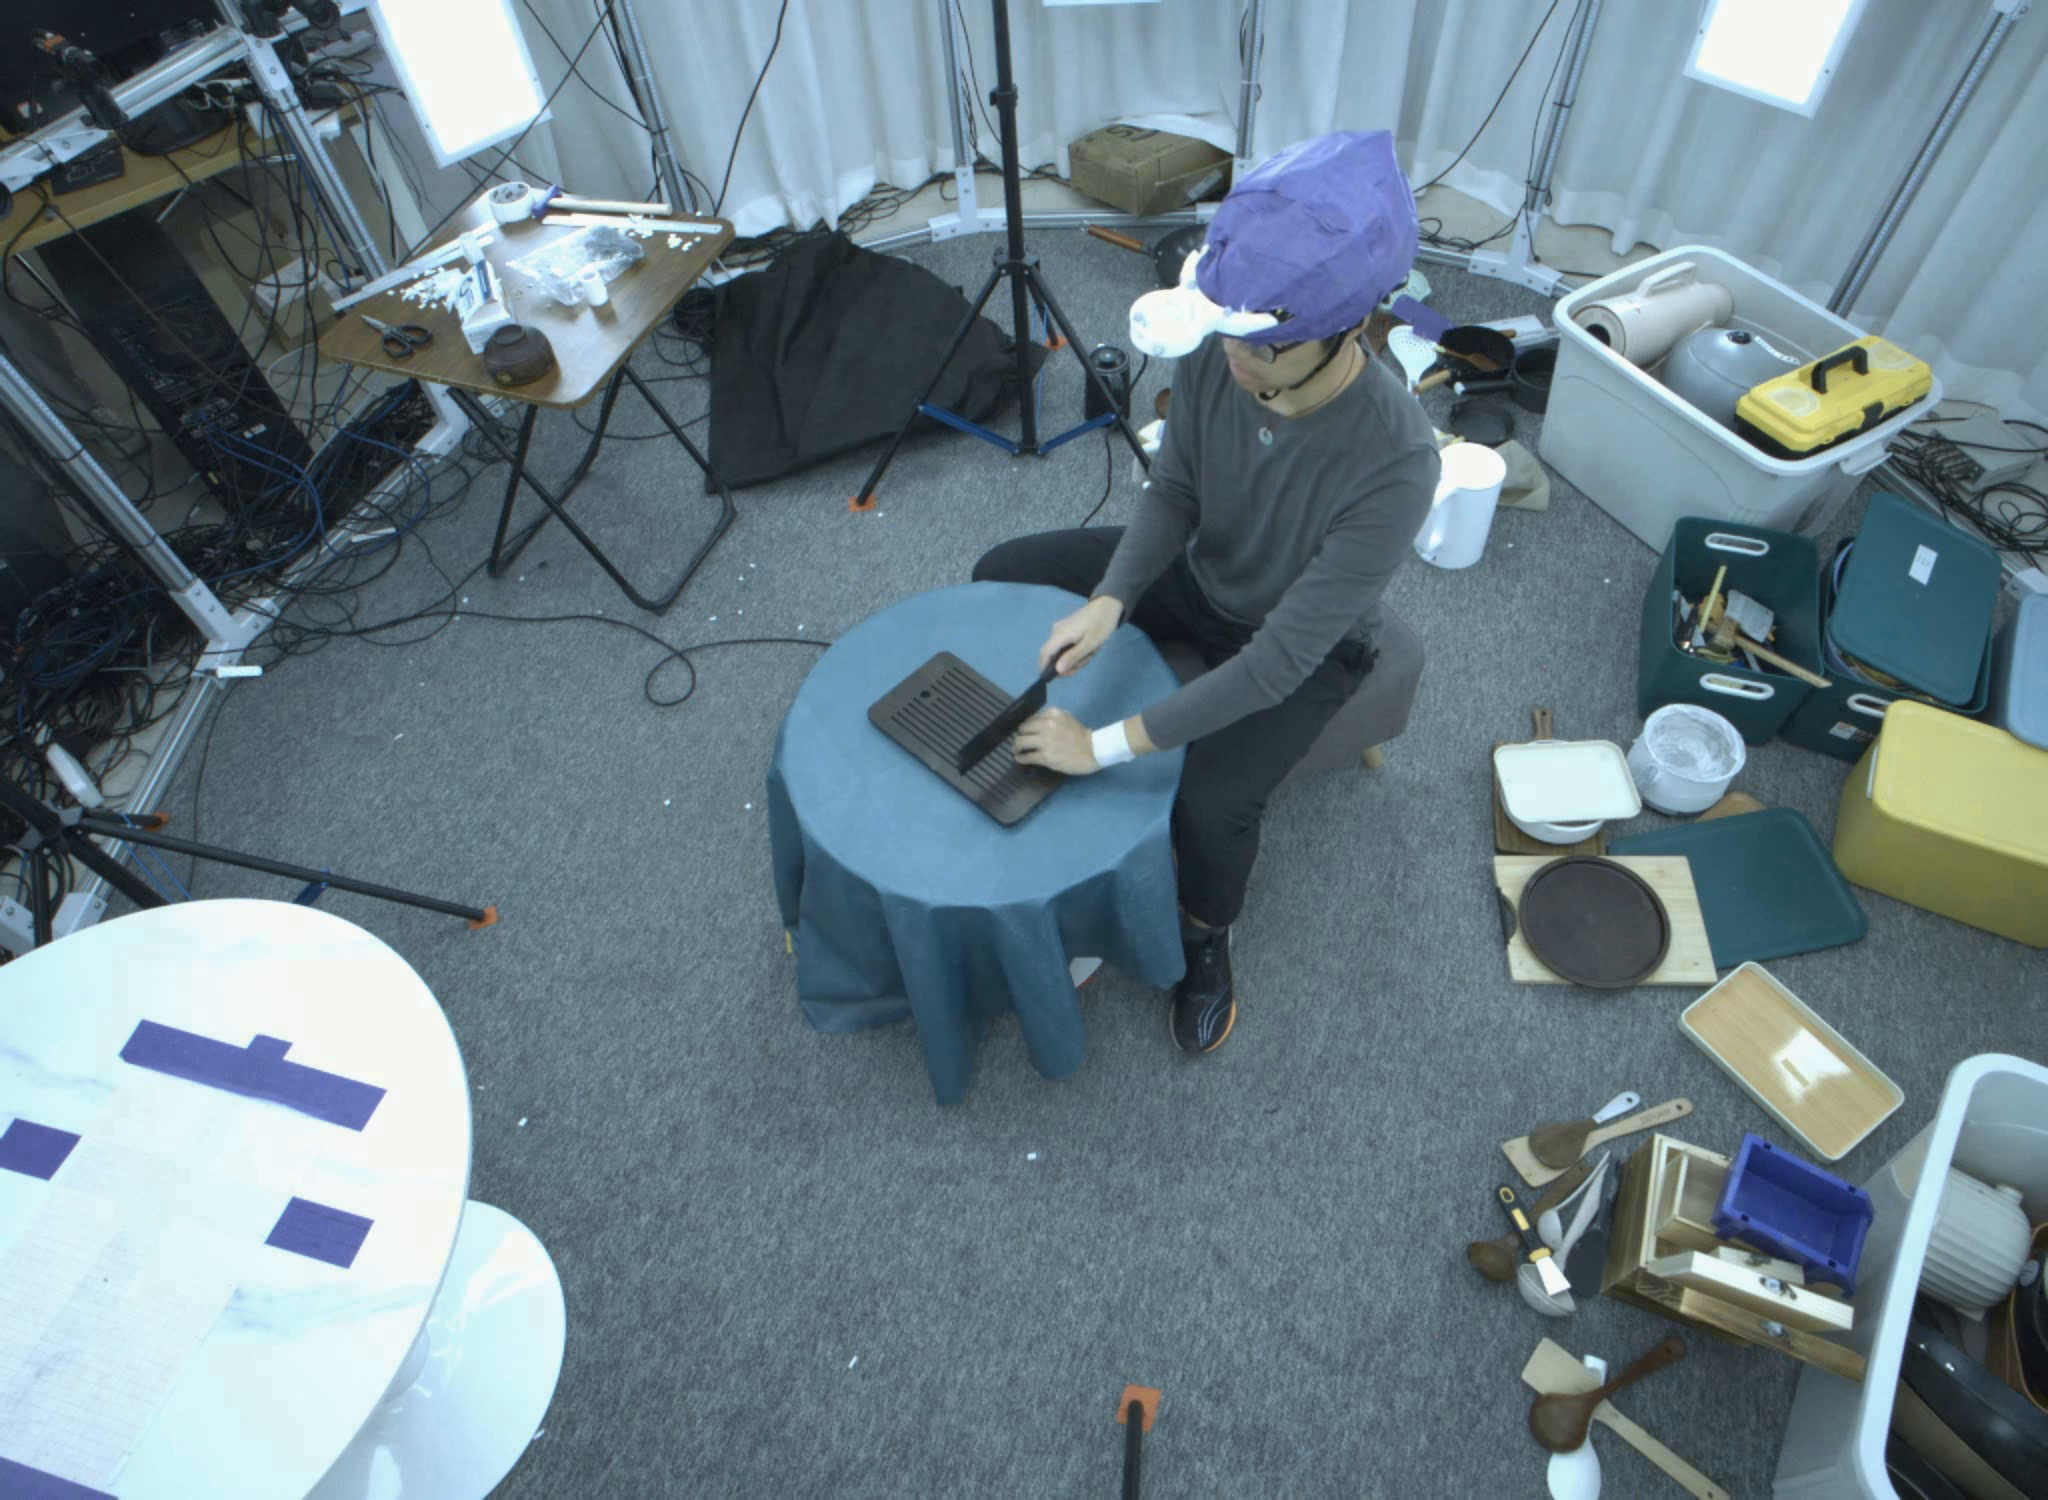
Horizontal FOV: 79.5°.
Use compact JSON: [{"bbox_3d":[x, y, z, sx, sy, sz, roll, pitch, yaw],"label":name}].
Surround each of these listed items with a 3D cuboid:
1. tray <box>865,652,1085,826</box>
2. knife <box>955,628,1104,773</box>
[{"bbox_3d":[-0.074,-0.020,1.800,0.300,0.019,0.171,37,62,24],"label":"tray"},{"bbox_3d":[0.009,-0.075,1.734,0.020,0.082,0.304,36,66,24],"label":"knife"}]
